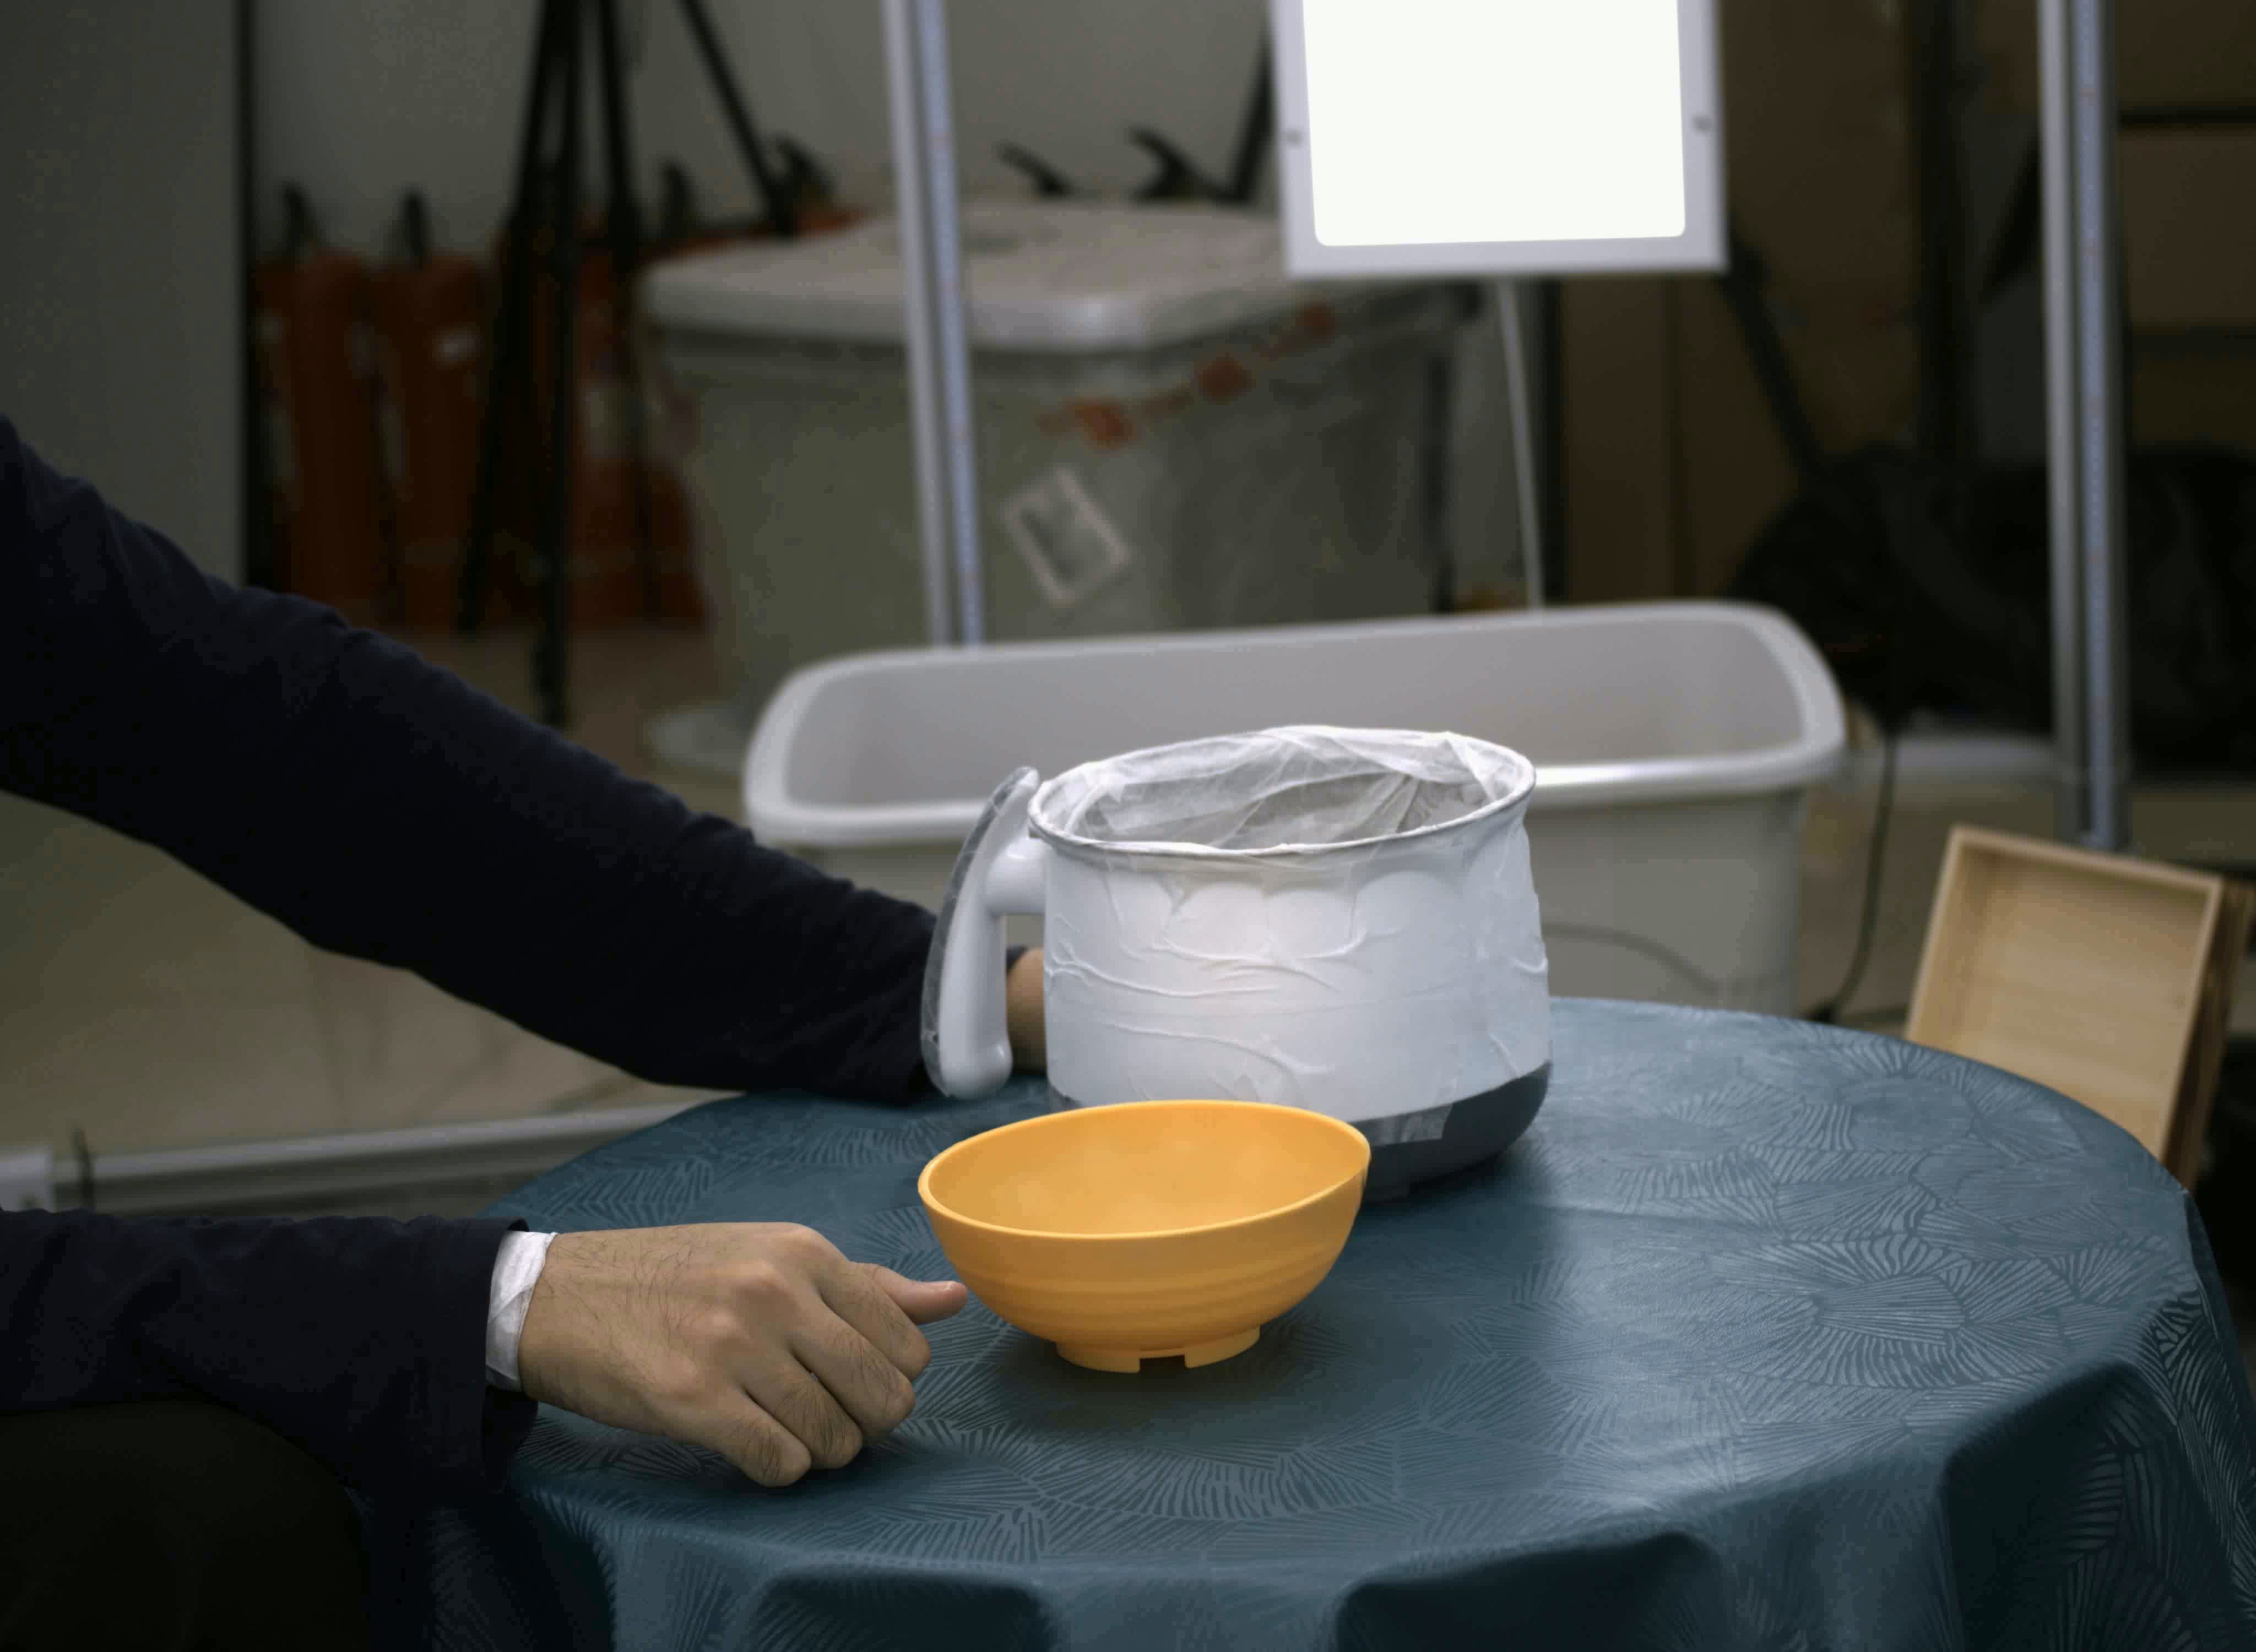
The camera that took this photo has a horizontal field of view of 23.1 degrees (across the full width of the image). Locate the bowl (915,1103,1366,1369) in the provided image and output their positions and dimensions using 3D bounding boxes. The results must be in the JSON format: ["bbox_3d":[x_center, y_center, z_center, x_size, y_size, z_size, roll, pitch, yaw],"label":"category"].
[{"bbox_3d":[0.006,0.134,1.742,0.145,0.060,0.145,-4,12,-1],"label":"bowl"}]

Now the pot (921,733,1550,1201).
[{"bbox_3d":[0.033,0.046,1.927,0.237,0.137,0.175,3,13,25],"label":"pot"}]
